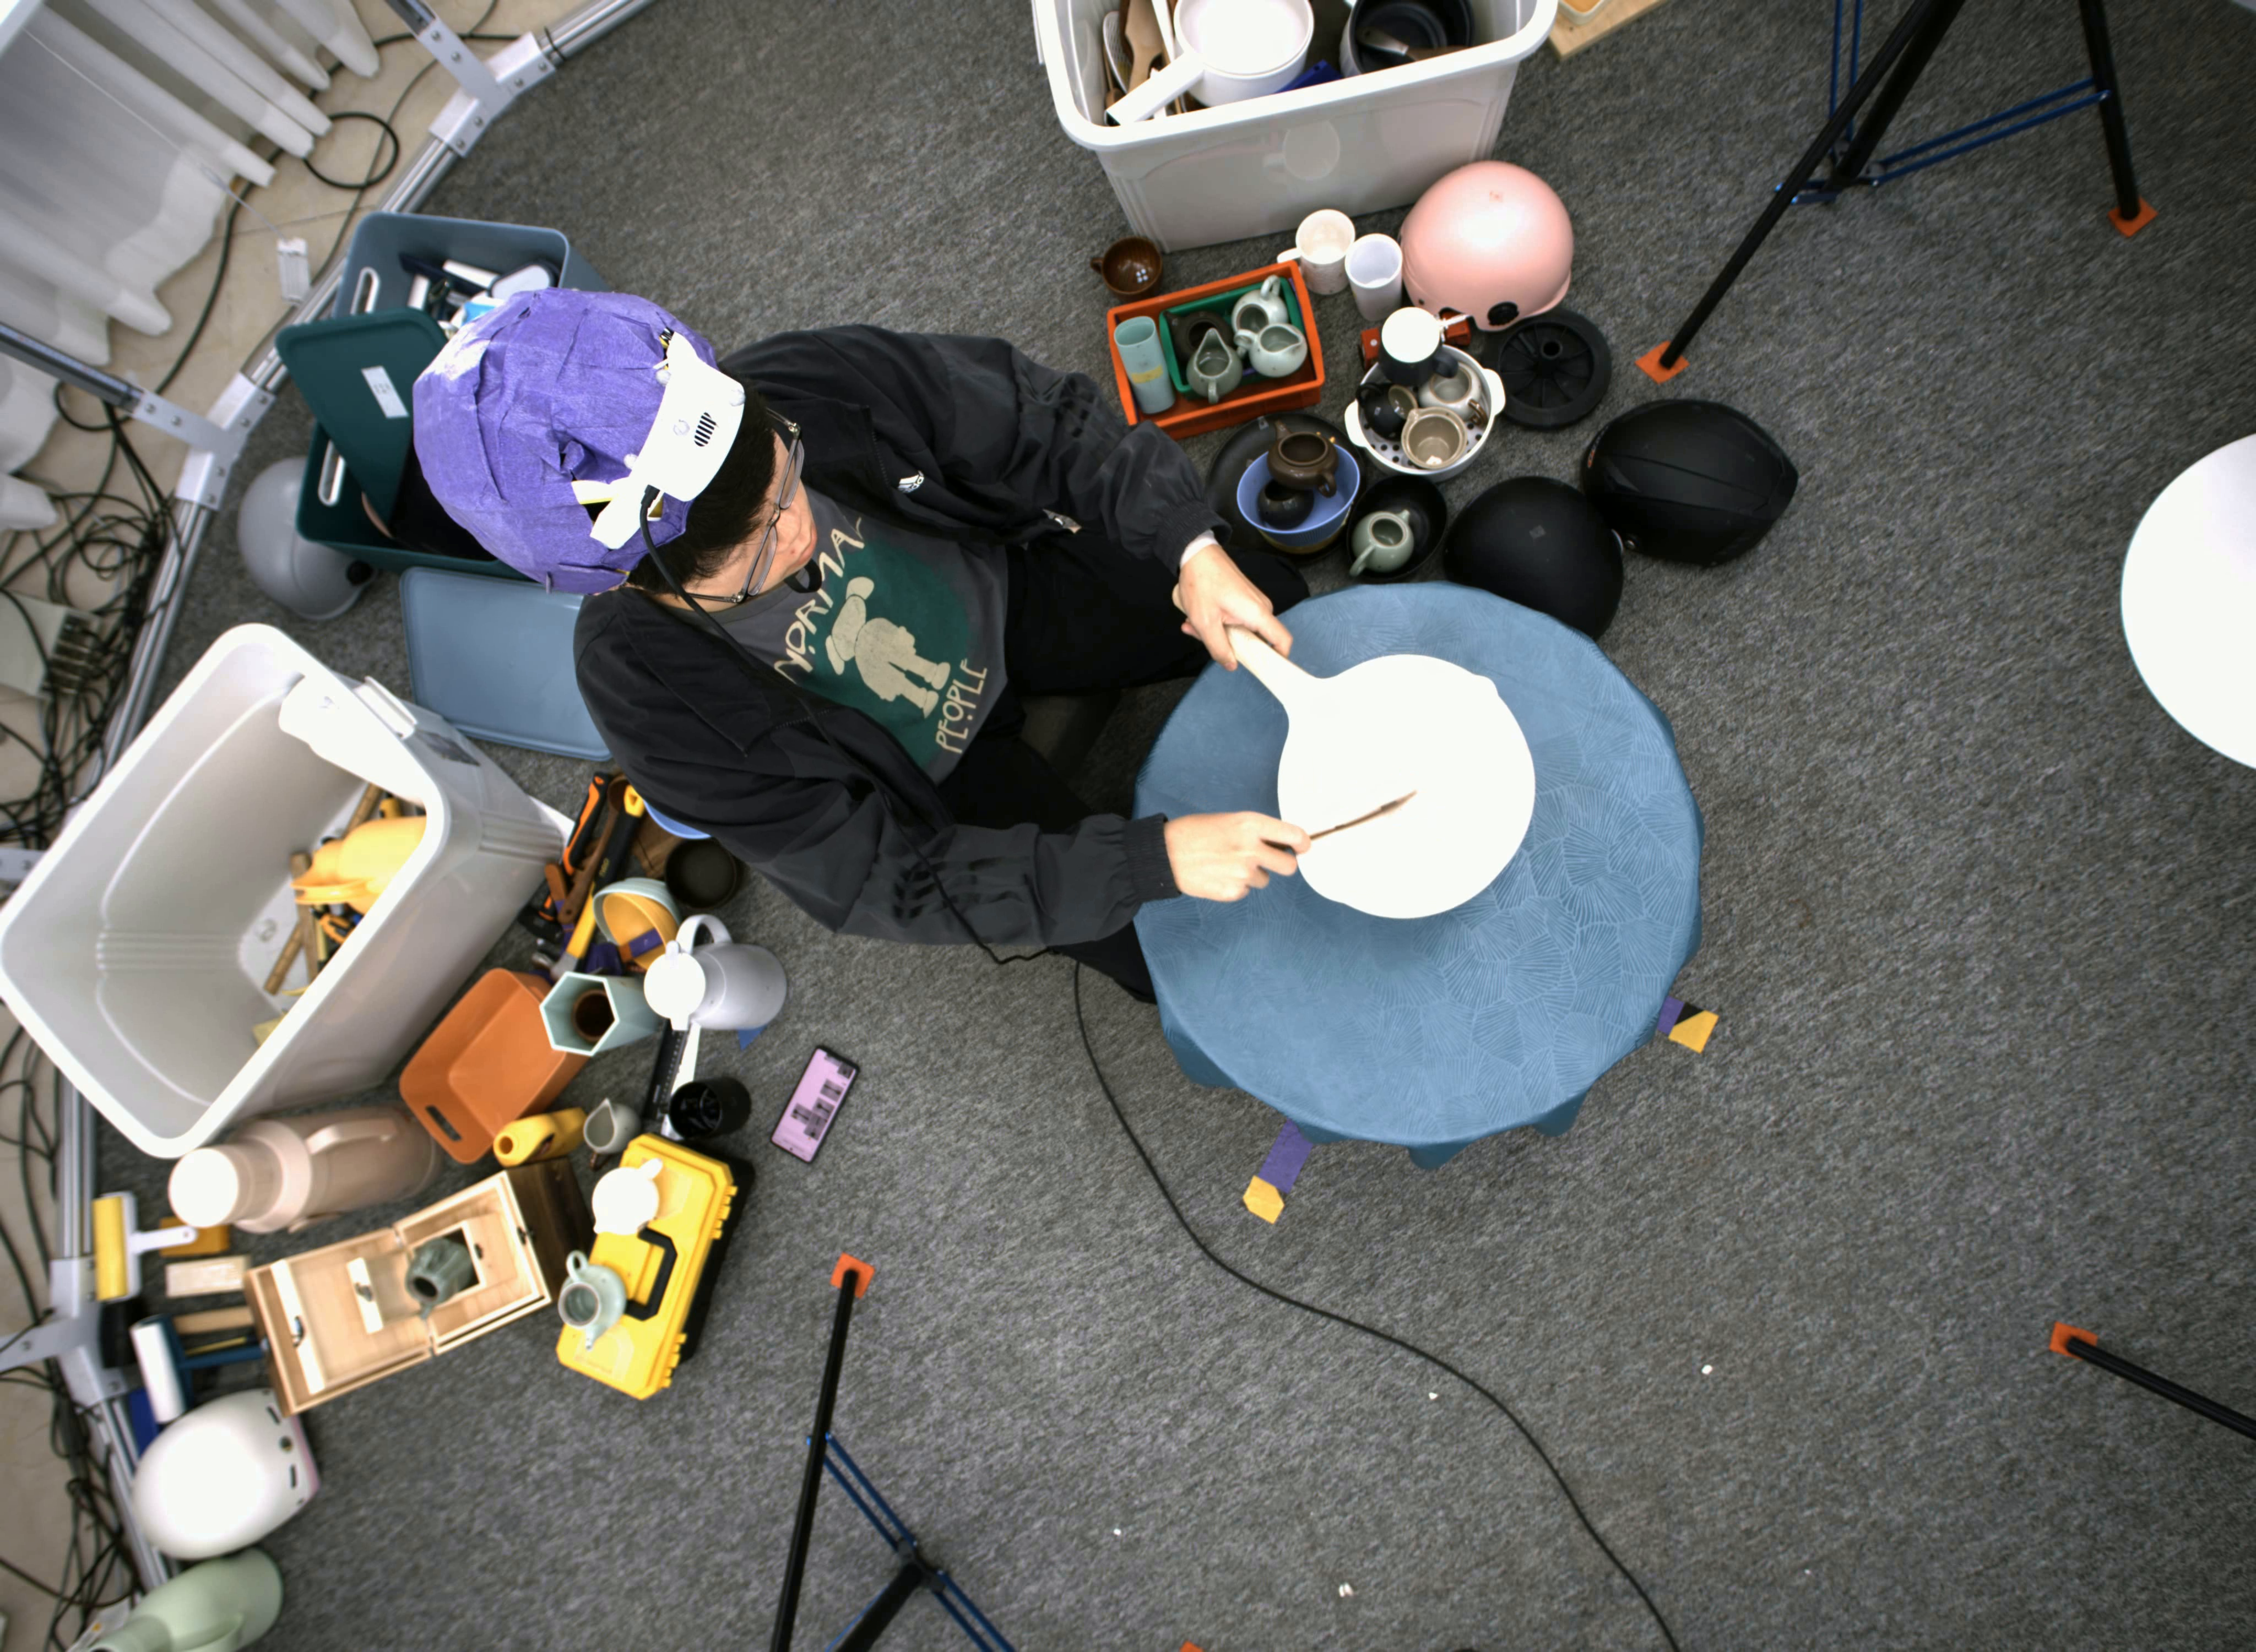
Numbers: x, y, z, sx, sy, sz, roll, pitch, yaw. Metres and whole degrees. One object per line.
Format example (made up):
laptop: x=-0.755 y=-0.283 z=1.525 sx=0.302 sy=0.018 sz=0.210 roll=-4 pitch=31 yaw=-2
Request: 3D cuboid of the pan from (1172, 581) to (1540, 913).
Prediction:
pan: x=0.217 y=-0.104 z=1.367 sx=0.431 sy=0.101 sz=0.268 roll=46 pitch=114 yaw=20

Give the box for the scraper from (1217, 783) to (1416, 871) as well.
scraper: x=0.183 y=0.002 z=1.342 sx=0.210 sy=0.076 sz=0.011 roll=-22 pitch=85 yaw=-10
